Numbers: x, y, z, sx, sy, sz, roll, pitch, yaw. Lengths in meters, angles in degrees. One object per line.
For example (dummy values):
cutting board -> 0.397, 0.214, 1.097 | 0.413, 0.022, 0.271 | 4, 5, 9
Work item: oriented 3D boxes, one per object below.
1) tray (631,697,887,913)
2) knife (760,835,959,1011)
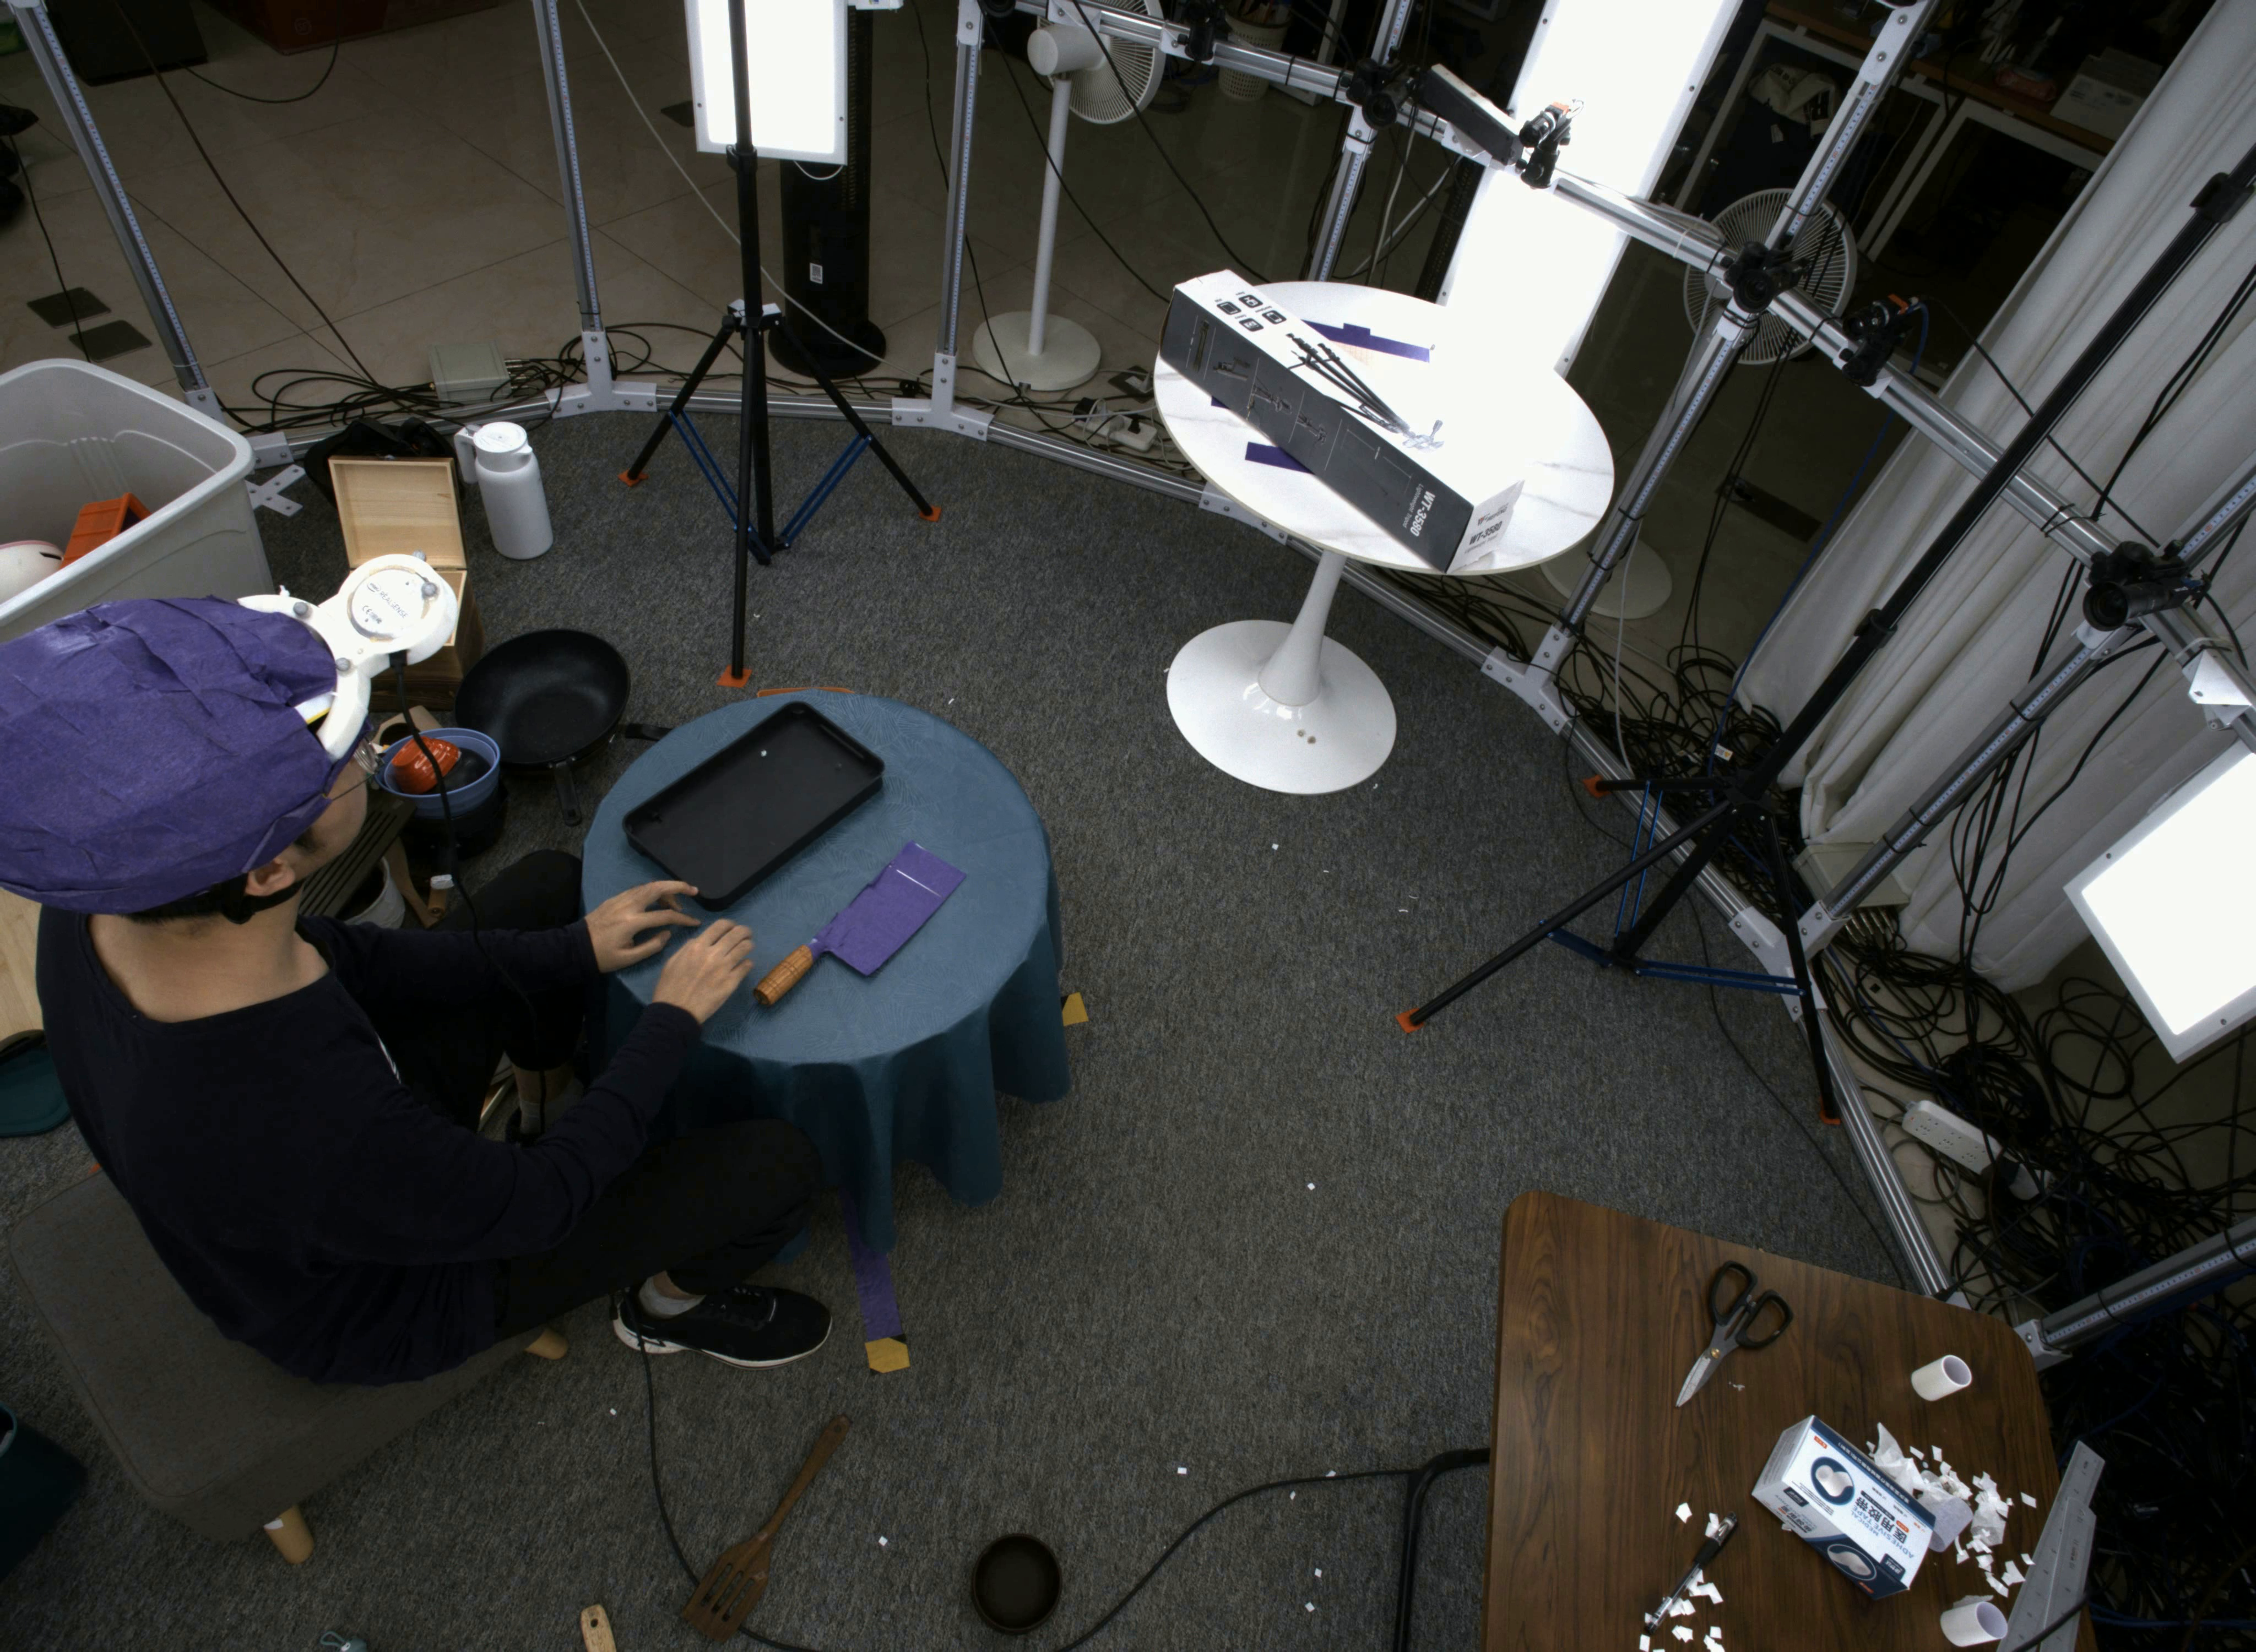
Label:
tray -> -0.487, -0.035, 1.724 | 0.181, 0.038, 0.318 | 36, 55, 12
knife -> -0.330, 0.128, 1.647 | 0.102, 0.033, 0.314 | 31, 52, 10
